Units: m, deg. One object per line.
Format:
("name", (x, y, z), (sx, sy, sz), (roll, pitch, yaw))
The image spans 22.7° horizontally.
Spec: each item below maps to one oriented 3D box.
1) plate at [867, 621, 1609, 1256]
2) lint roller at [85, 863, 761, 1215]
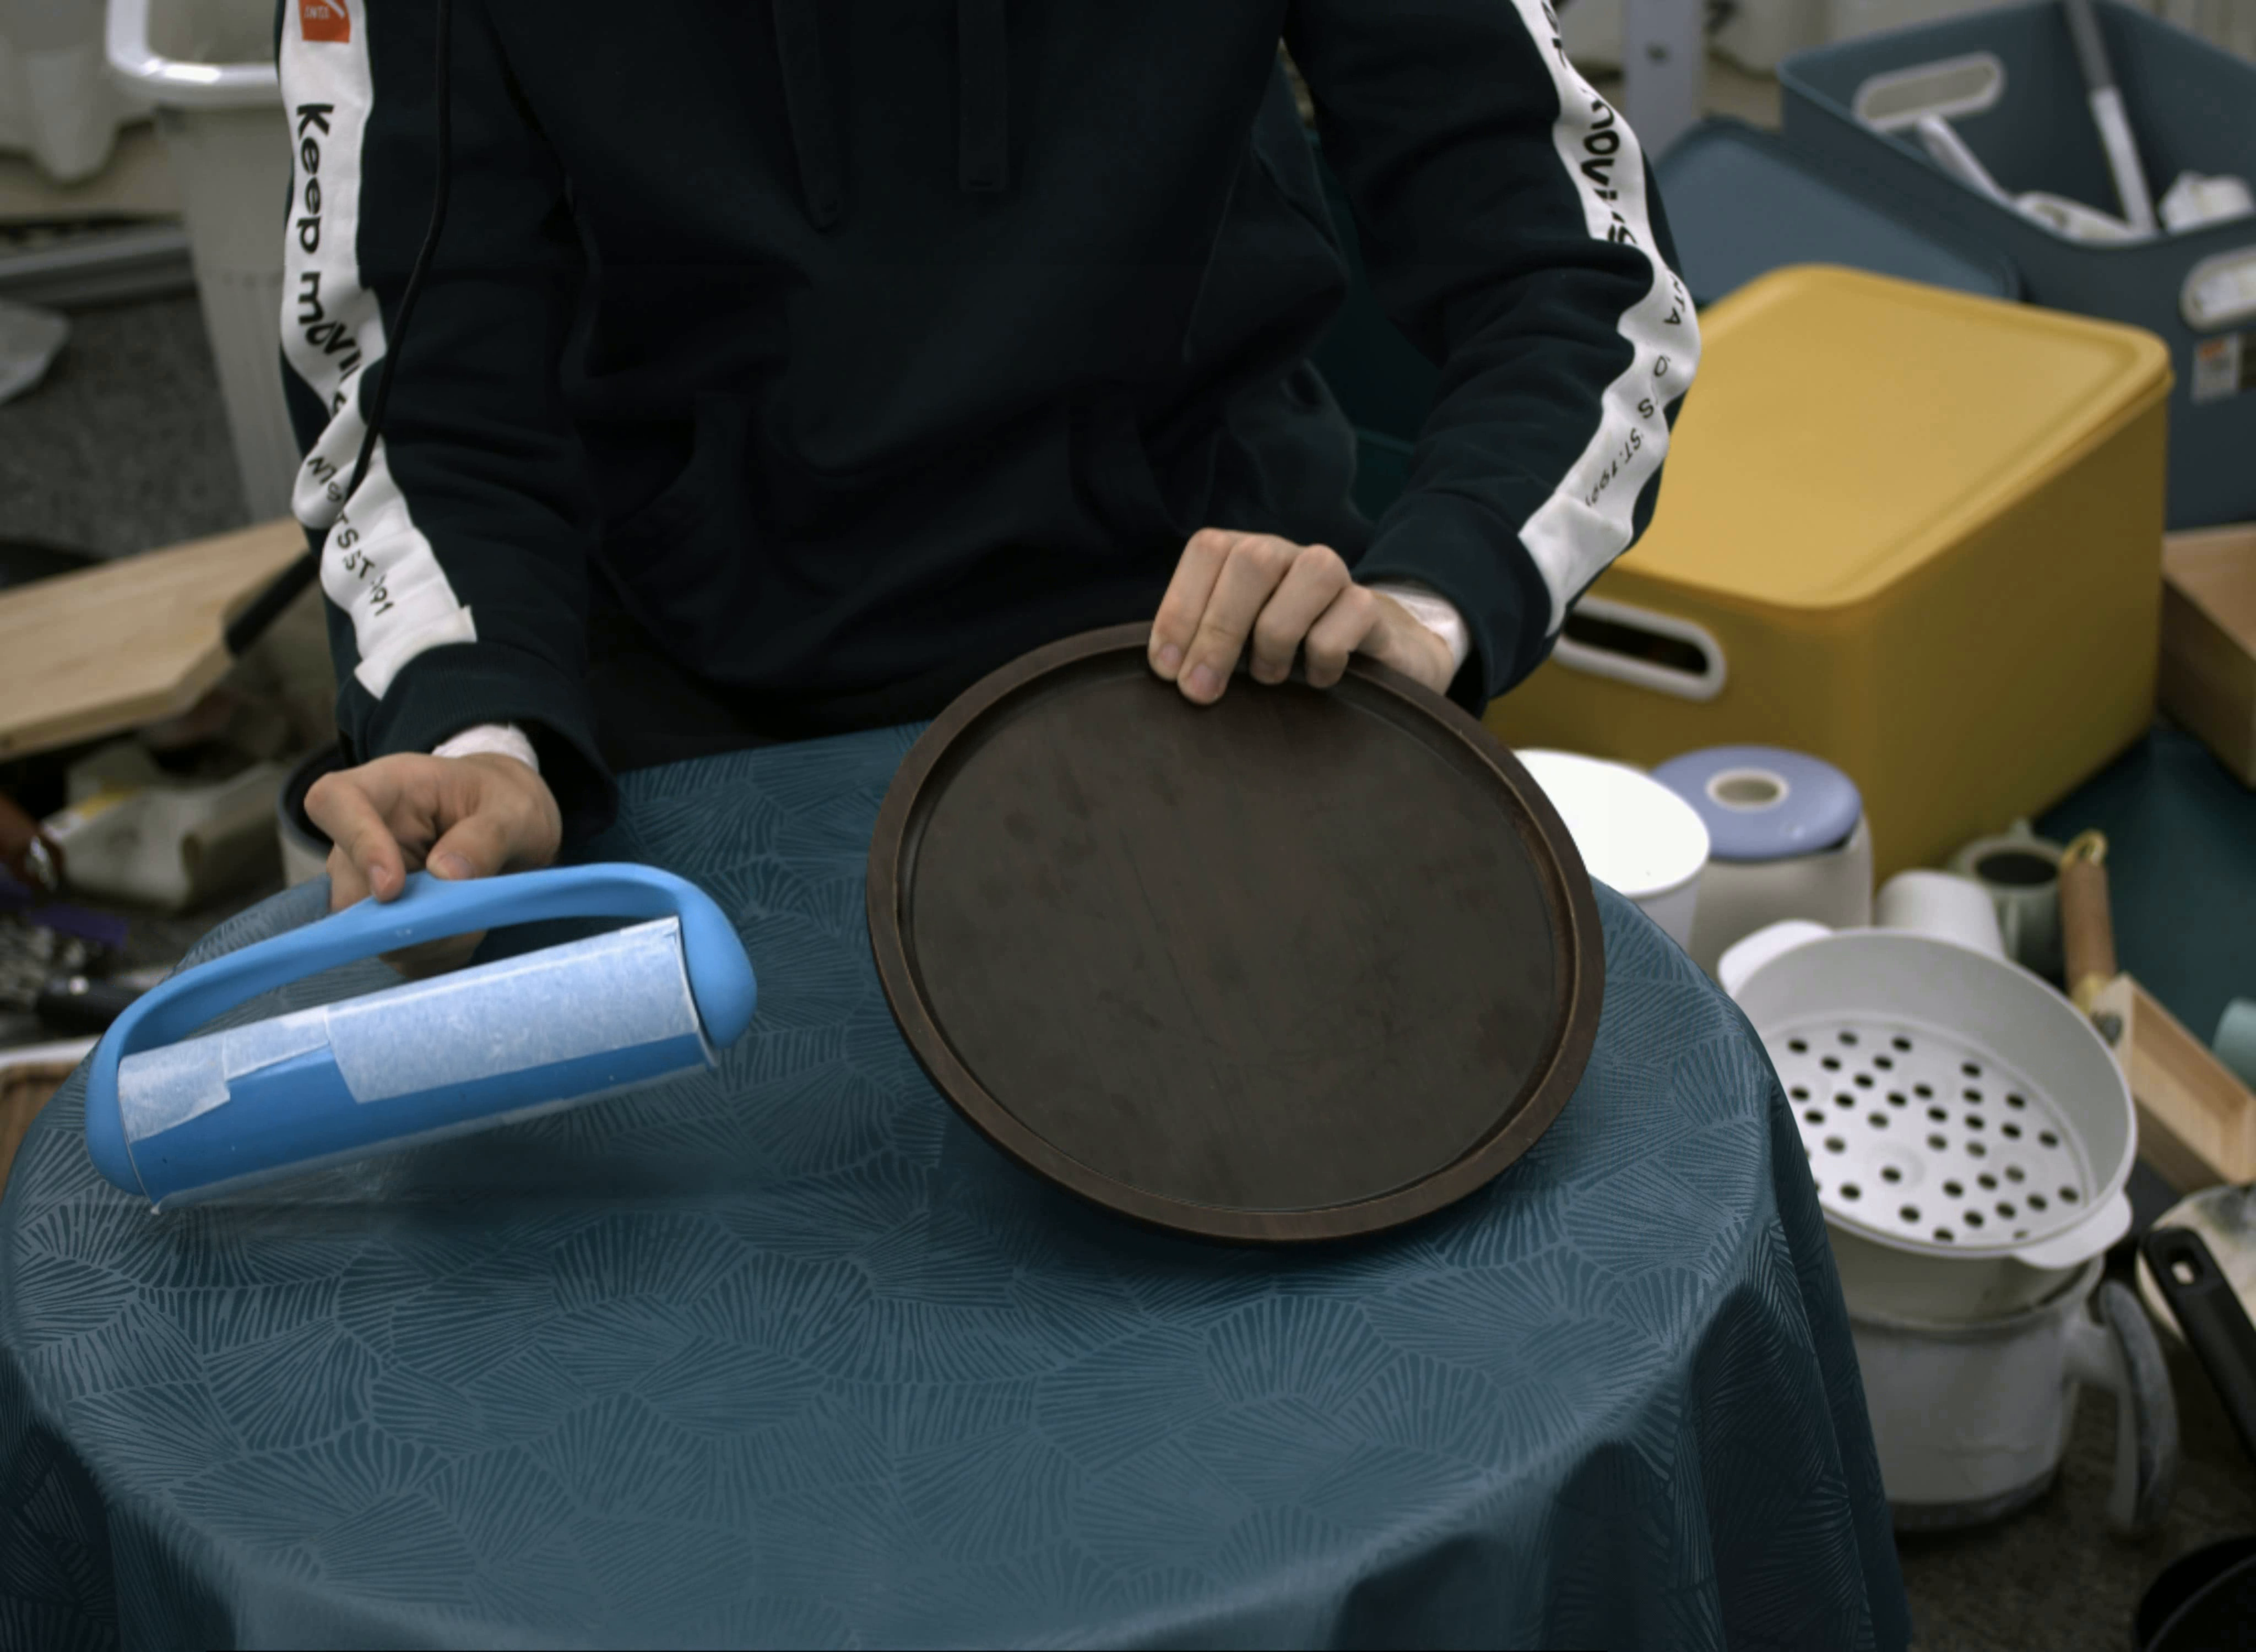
("plate", (0.036, 0.036, 1.882), (0.254, 0.028, 0.260), (7, 53, -9))
("lint roller", (-0.239, 0.051, 1.901), (0.228, 0.067, 0.182), (-17, 27, 1))
